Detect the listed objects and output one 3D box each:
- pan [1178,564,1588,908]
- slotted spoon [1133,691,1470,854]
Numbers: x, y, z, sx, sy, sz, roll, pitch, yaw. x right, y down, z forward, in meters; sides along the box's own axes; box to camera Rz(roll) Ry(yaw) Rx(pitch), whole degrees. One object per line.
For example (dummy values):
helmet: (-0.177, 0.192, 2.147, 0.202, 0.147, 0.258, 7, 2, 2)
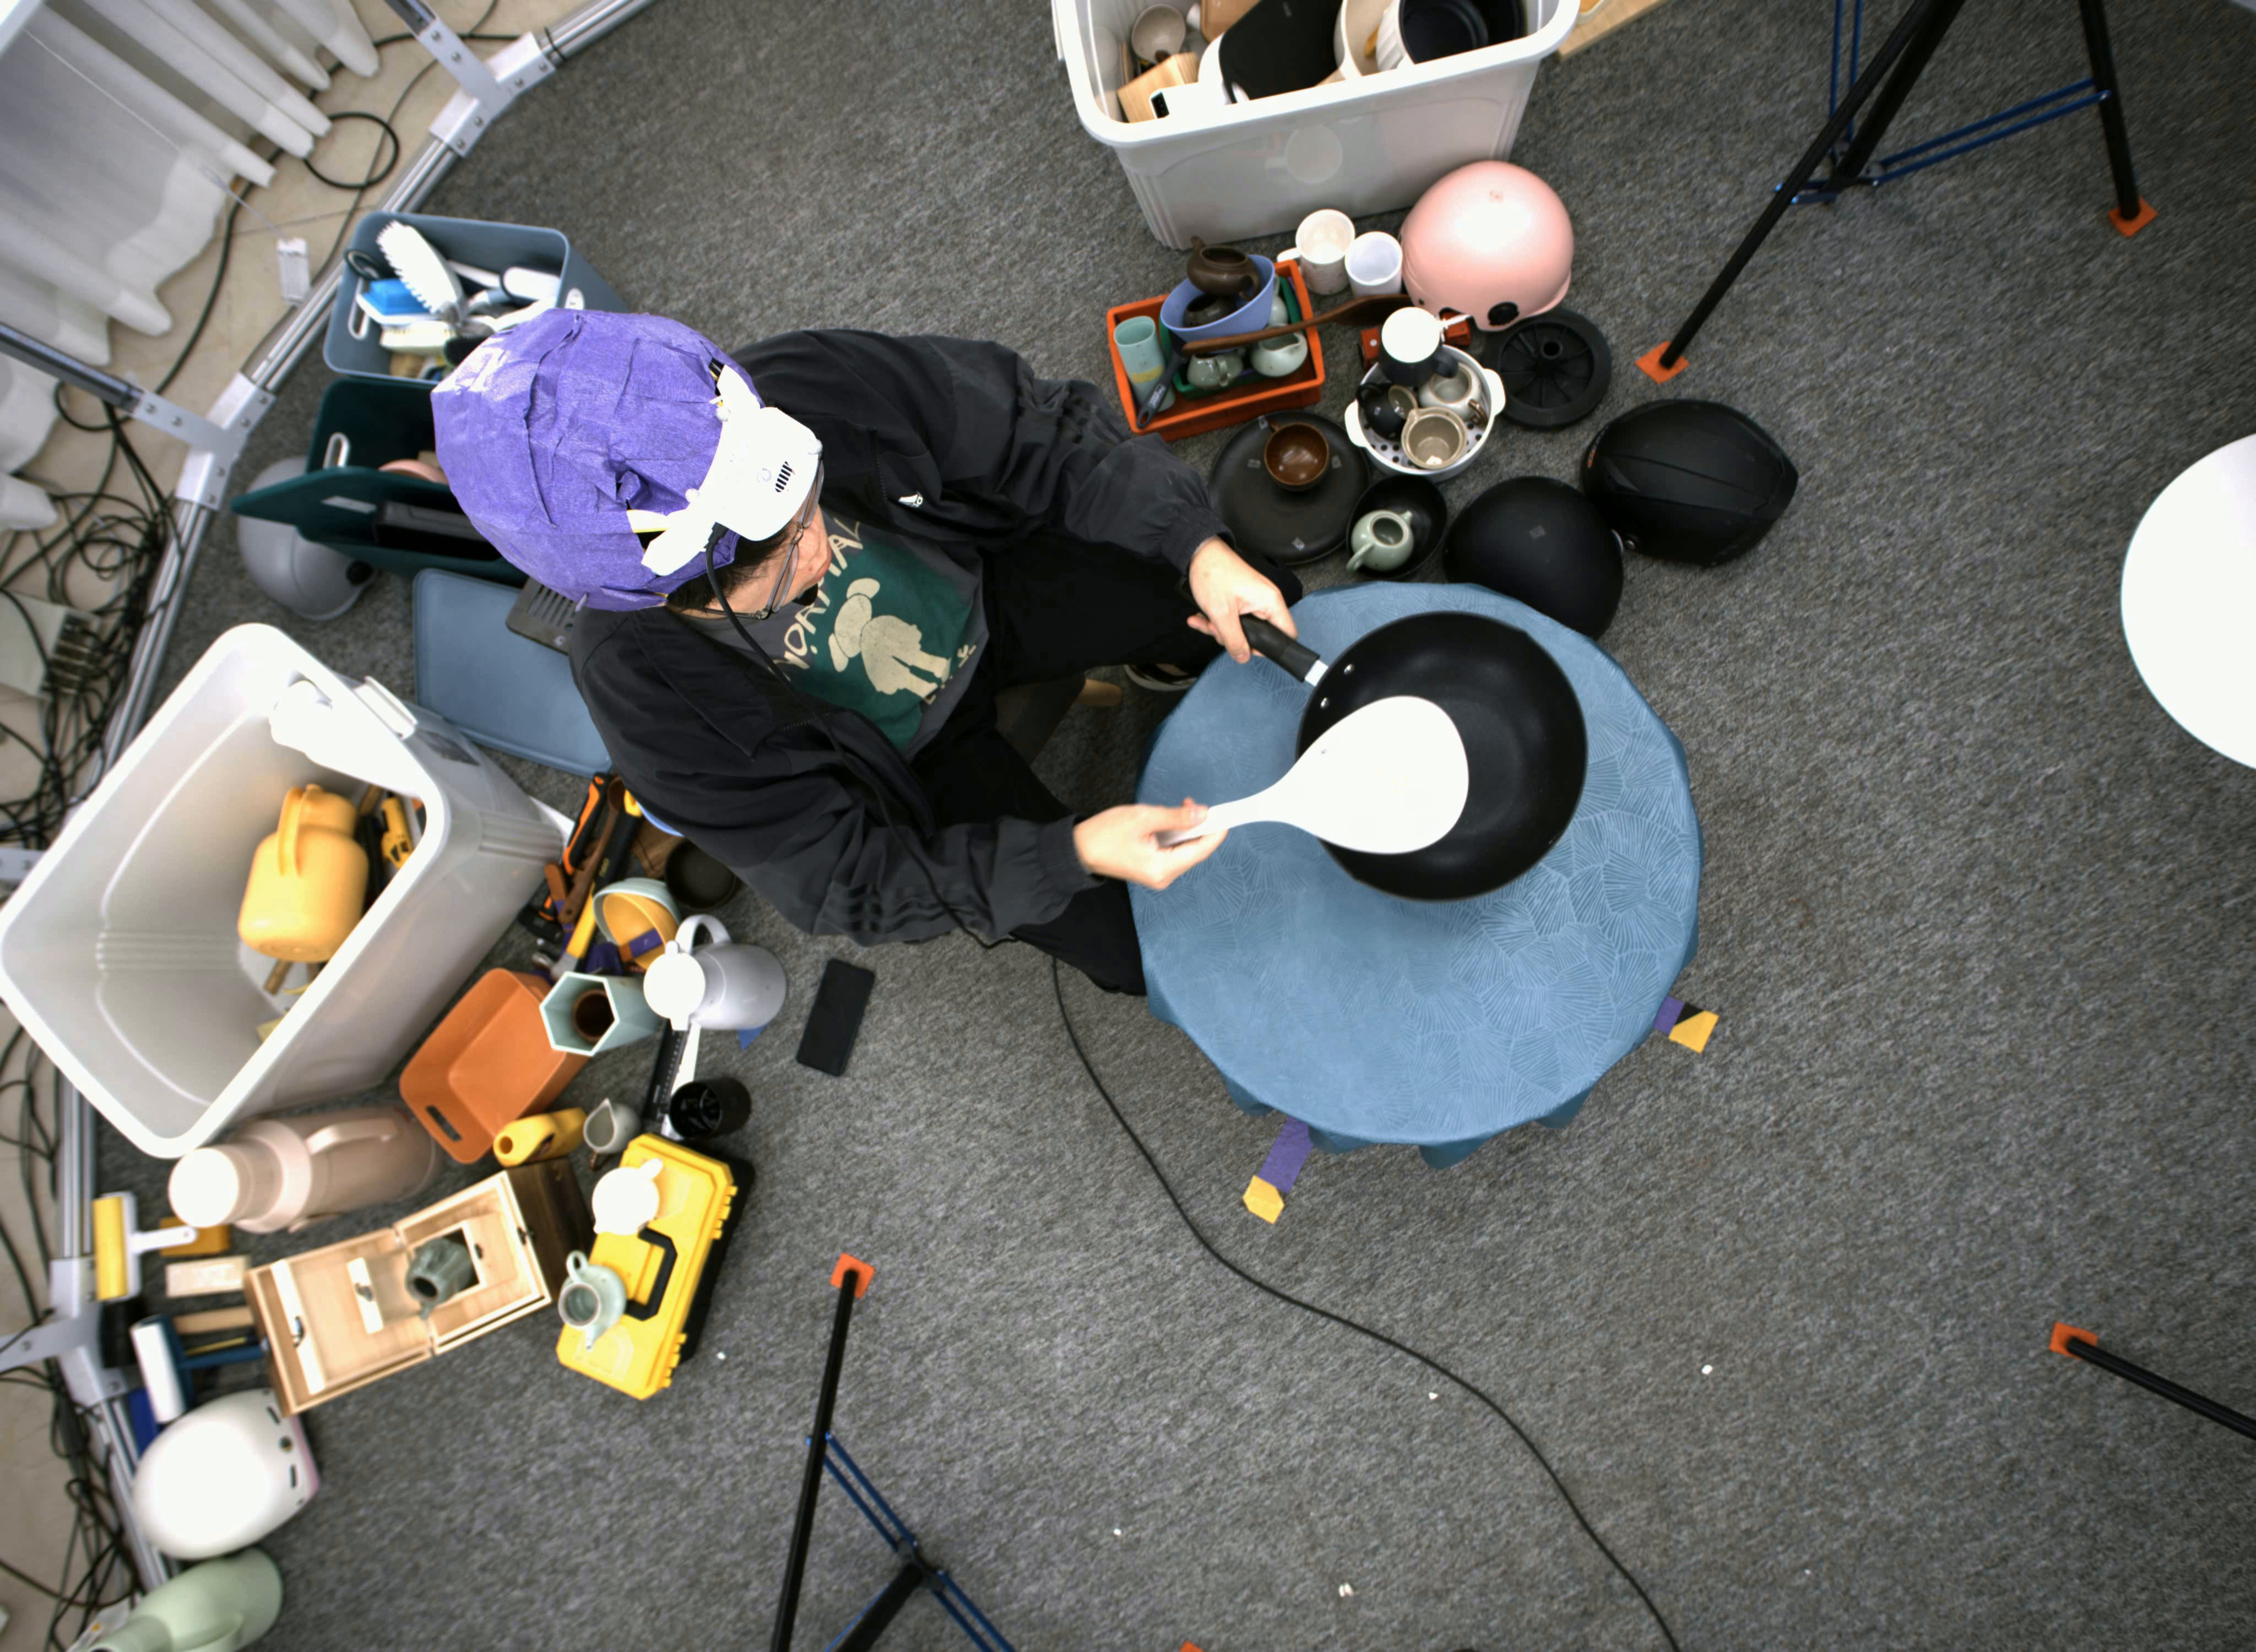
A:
pan: (0.238, -0.117, 1.370, 0.461, 0.086, 0.291, 38, 105, 17)
slotted spoon: (0.151, -0.027, 1.297, 0.352, 0.050, 0.136, -15, 89, 23)
